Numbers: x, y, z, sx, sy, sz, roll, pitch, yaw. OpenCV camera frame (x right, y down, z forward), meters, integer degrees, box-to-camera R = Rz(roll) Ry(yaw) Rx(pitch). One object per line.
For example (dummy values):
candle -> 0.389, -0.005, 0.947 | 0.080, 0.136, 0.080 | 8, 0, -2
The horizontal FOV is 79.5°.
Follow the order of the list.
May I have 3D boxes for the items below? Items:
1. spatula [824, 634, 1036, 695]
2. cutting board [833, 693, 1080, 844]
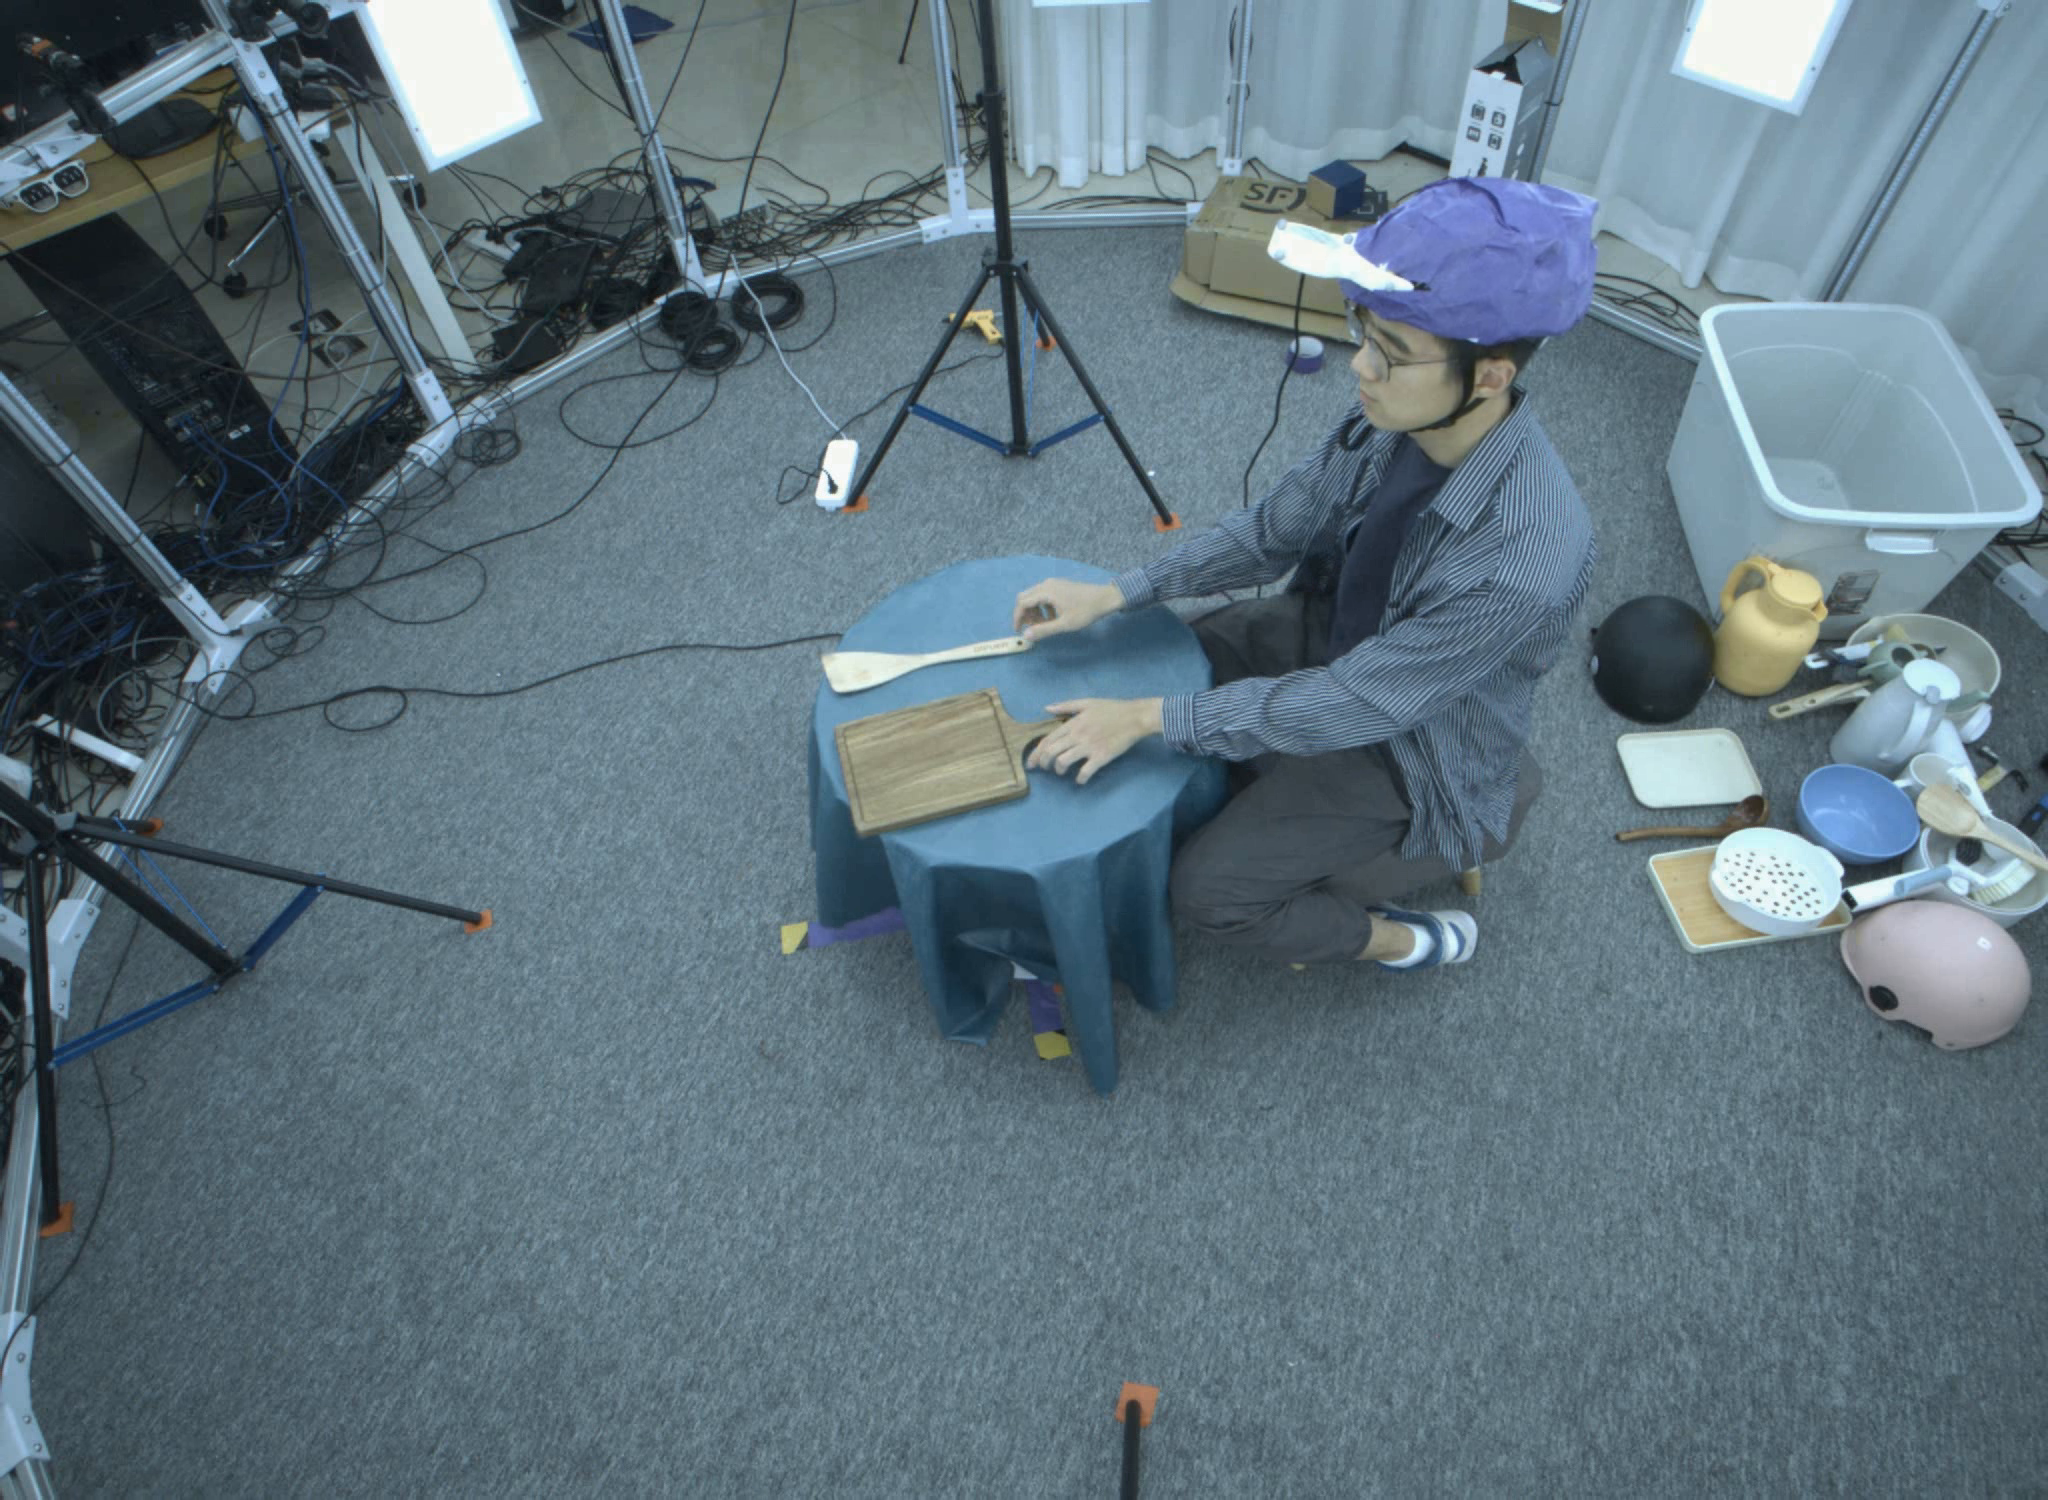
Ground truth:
spatula -> -0.142, -0.141, 1.886 | 0.329, 0.017, 0.079 | -11, 56, -6
cutting board -> -0.088, 0.011, 1.774 | 0.354, 0.023, 0.198 | -13, 56, -8
